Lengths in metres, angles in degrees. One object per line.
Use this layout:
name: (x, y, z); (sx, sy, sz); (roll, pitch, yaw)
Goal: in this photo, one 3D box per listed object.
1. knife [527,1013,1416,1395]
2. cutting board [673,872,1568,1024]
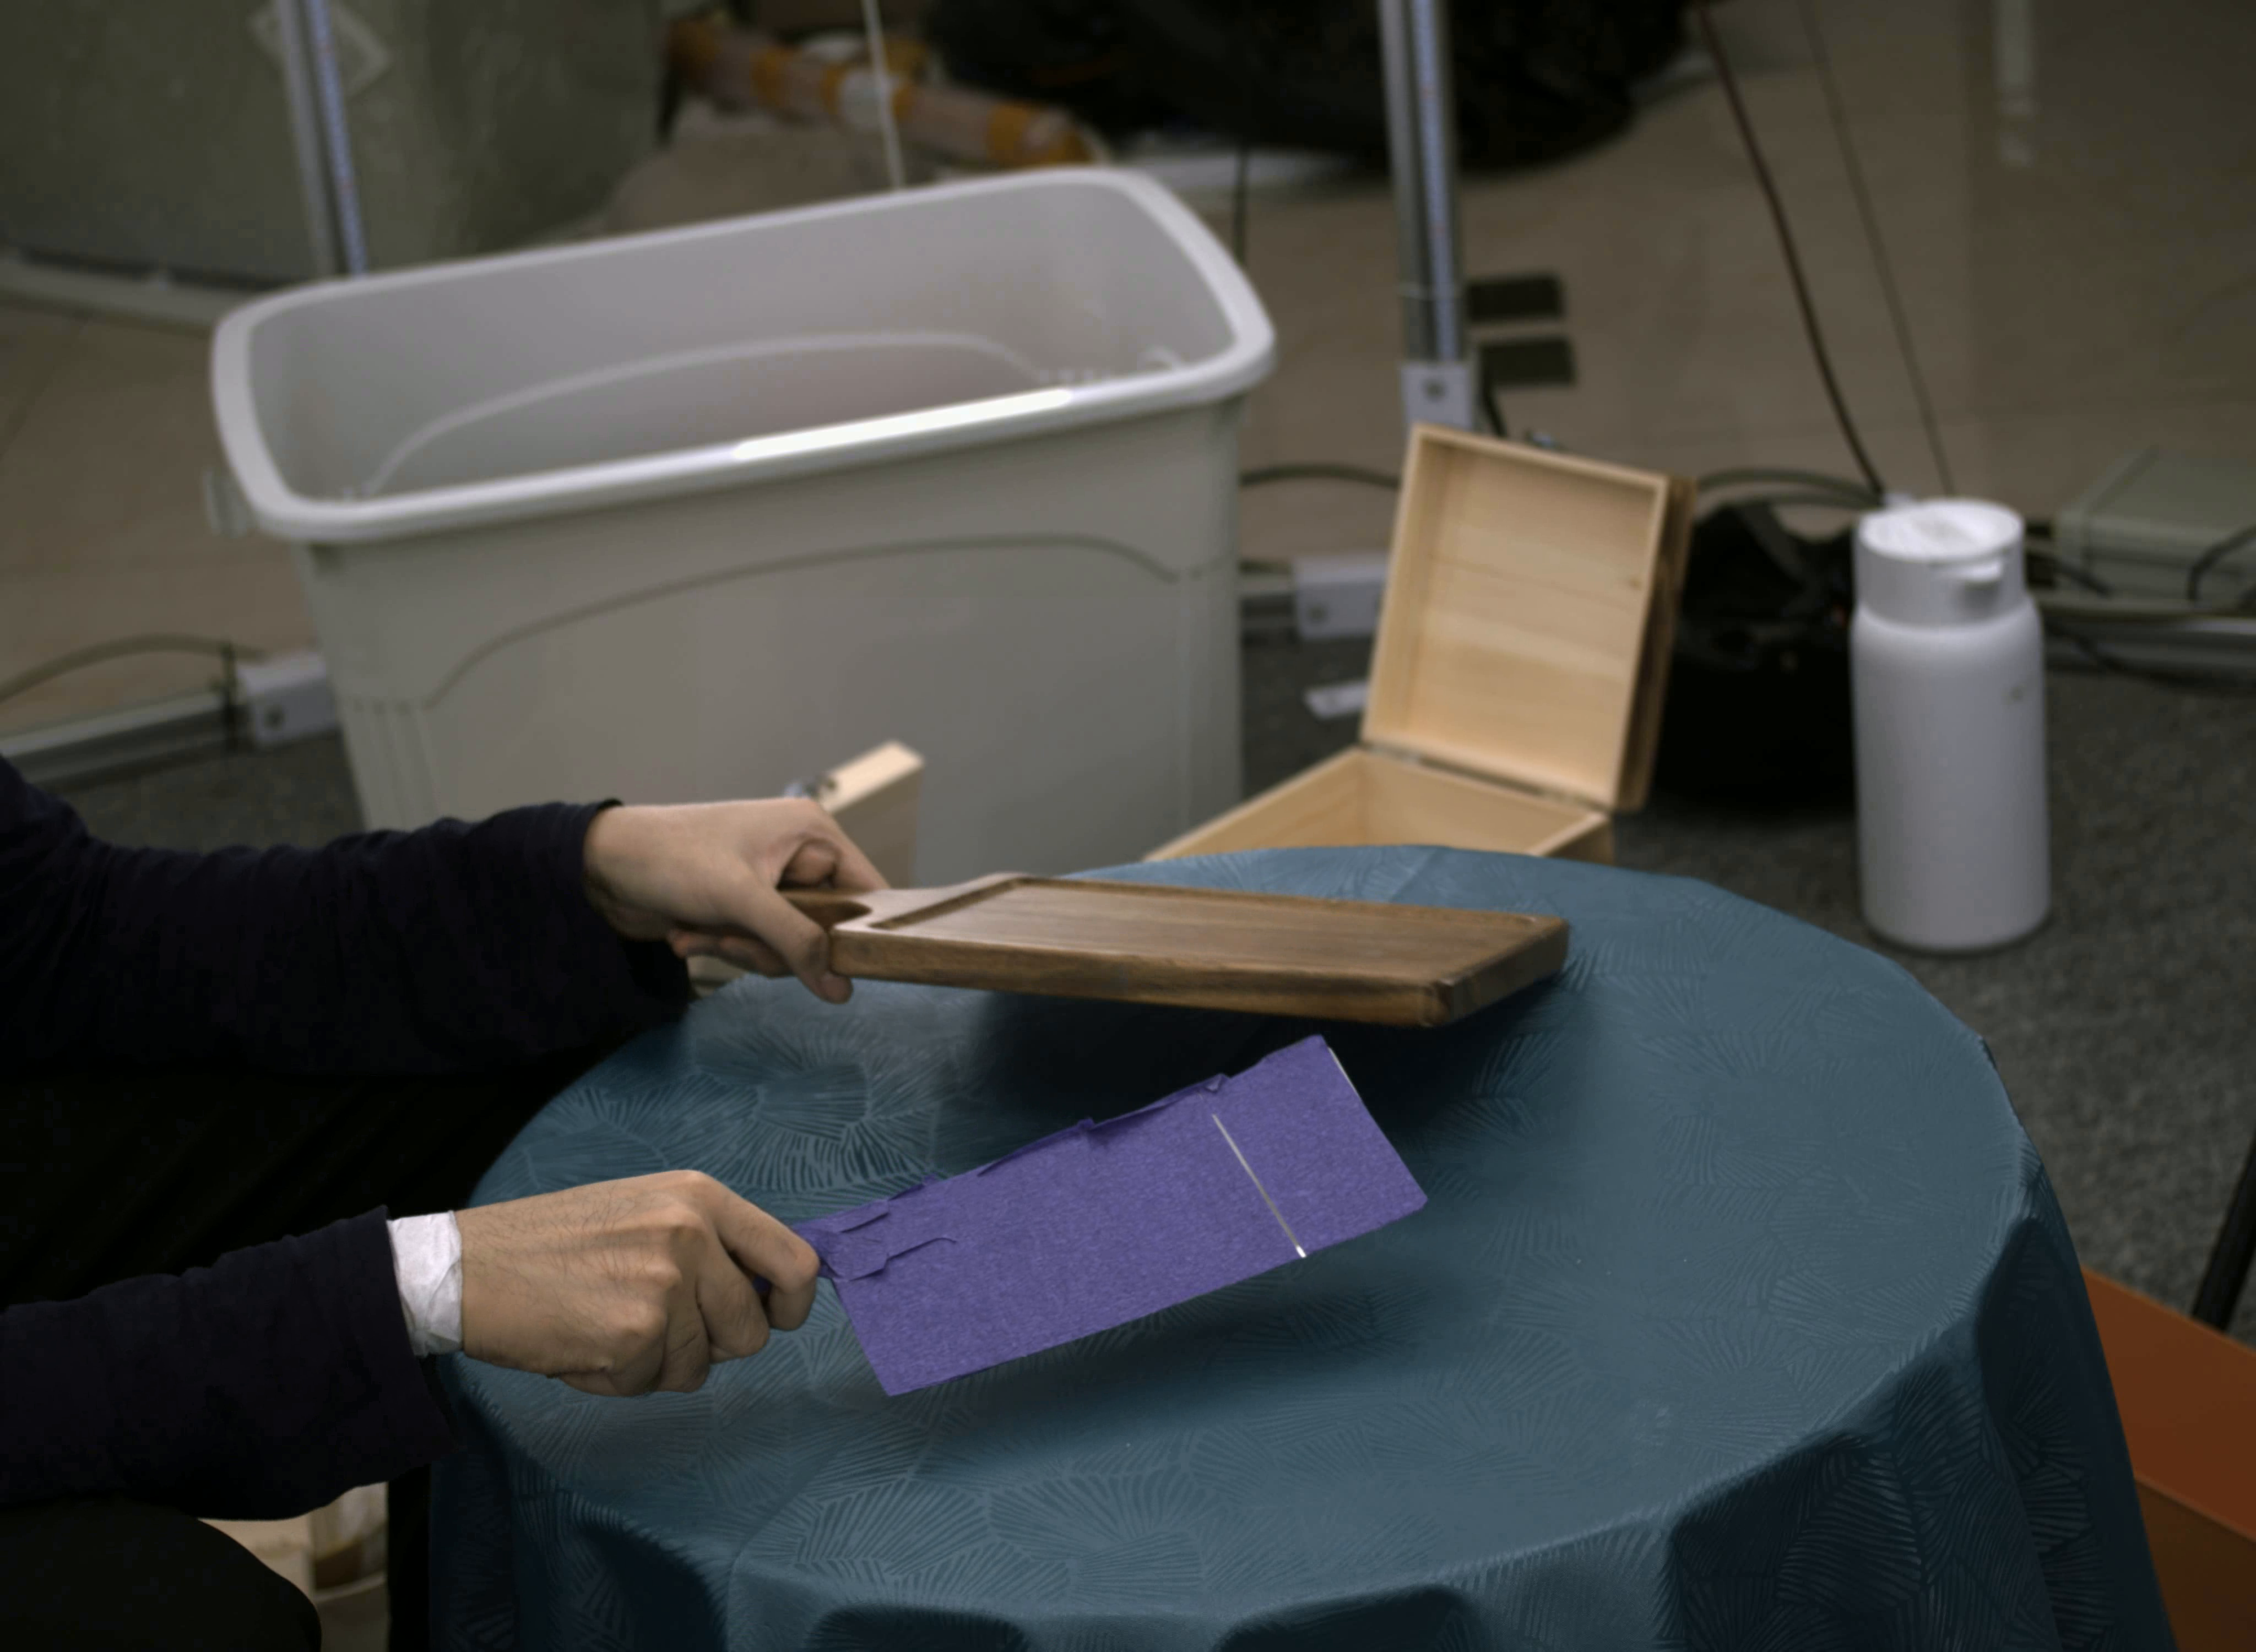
knife: (-0.053, 0.151, 2.010); (0.314, 0.033, 0.102); (-21, 46, -11)
cutting board: (-0.017, 0.043, 2.246); (0.351, 0.023, 0.200); (4, 7, 19)
